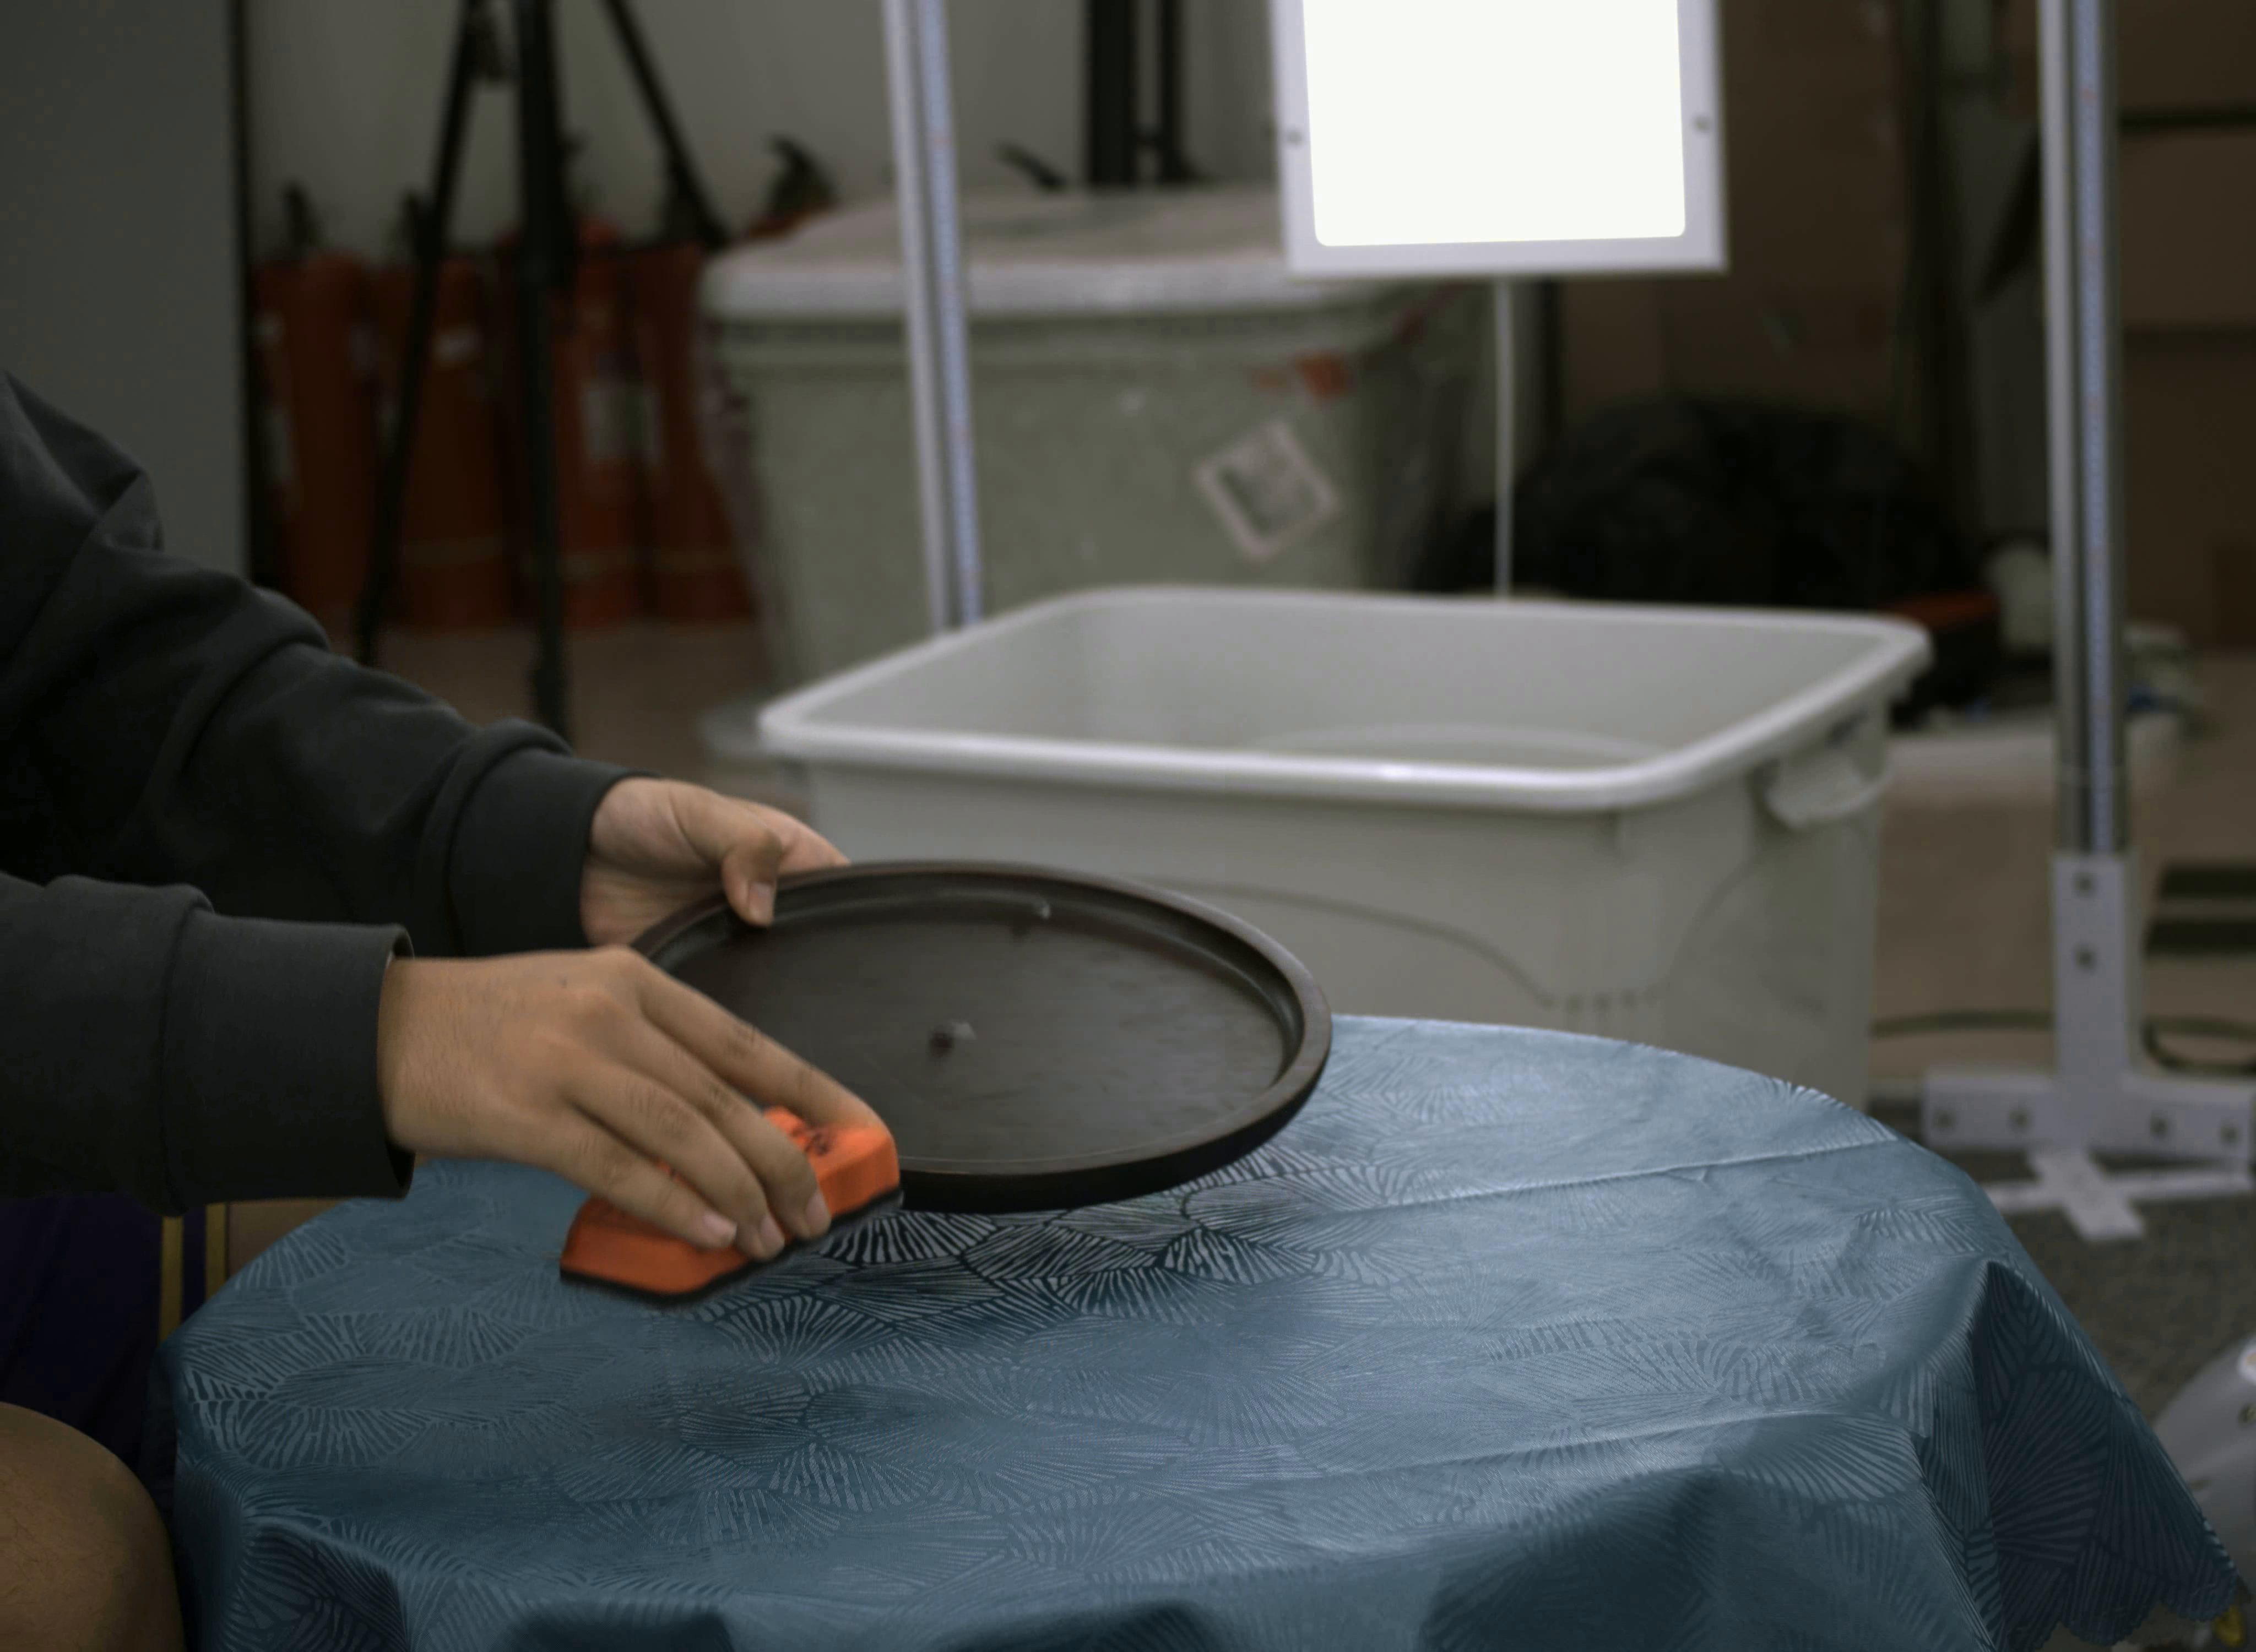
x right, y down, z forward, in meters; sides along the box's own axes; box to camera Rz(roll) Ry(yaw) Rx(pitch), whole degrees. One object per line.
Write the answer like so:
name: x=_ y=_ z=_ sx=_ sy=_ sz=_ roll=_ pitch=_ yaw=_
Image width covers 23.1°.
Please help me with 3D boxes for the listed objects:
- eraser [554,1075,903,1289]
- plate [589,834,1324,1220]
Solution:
eraser: x=-0.122 y=0.109 z=1.697 sx=0.060 sy=0.023 sz=0.105 roll=12 pitch=26 yaw=39
plate: x=-0.058 y=0.069 z=1.887 sx=0.254 sy=0.029 sz=0.254 roll=0 pitch=25 yaw=-1
